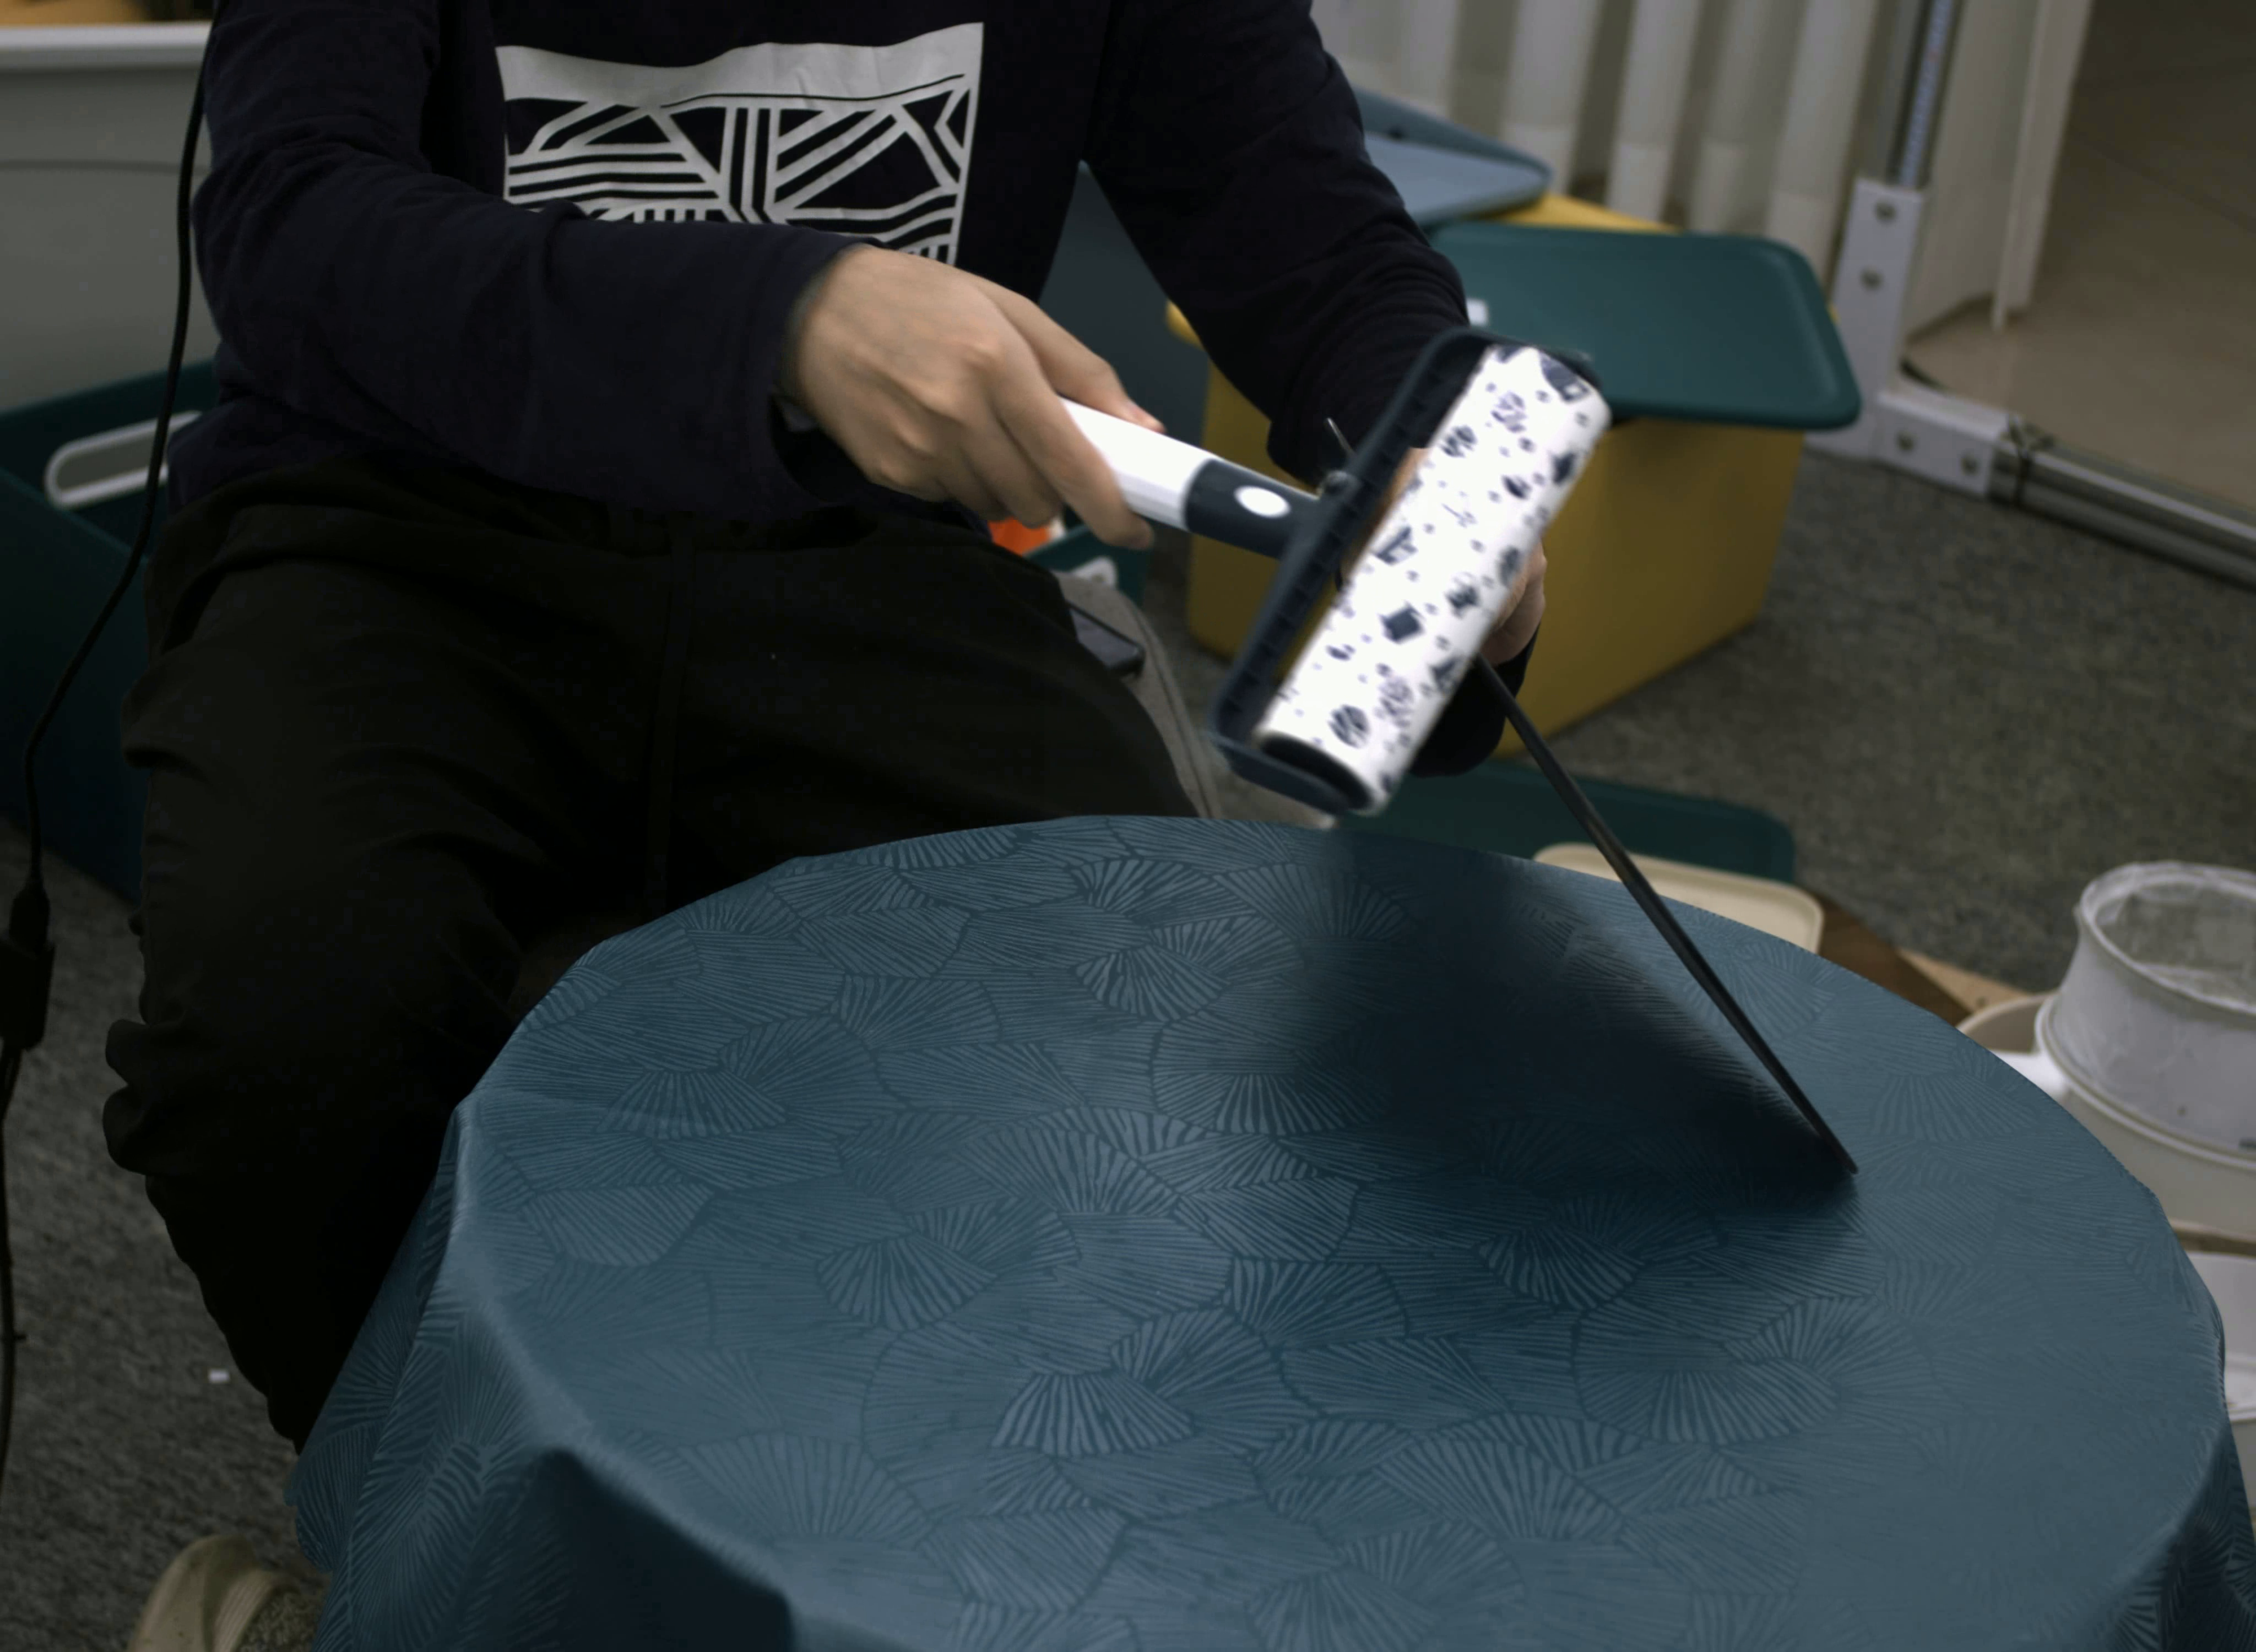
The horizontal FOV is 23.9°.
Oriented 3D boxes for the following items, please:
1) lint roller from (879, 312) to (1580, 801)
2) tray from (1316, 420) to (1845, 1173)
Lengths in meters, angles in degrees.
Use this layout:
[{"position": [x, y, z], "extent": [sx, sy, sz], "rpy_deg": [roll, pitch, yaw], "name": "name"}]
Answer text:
[{"position": [0.011, -0.118, 1.804], "extent": [0.248, 0.050, 0.177], "rpy_deg": [21, 71, 30], "name": "lint roller"}, {"position": [0.157, -0.020, 1.903], "extent": [0.010, 0.209, 0.328], "rpy_deg": [-35, 42, 4], "name": "tray"}]
